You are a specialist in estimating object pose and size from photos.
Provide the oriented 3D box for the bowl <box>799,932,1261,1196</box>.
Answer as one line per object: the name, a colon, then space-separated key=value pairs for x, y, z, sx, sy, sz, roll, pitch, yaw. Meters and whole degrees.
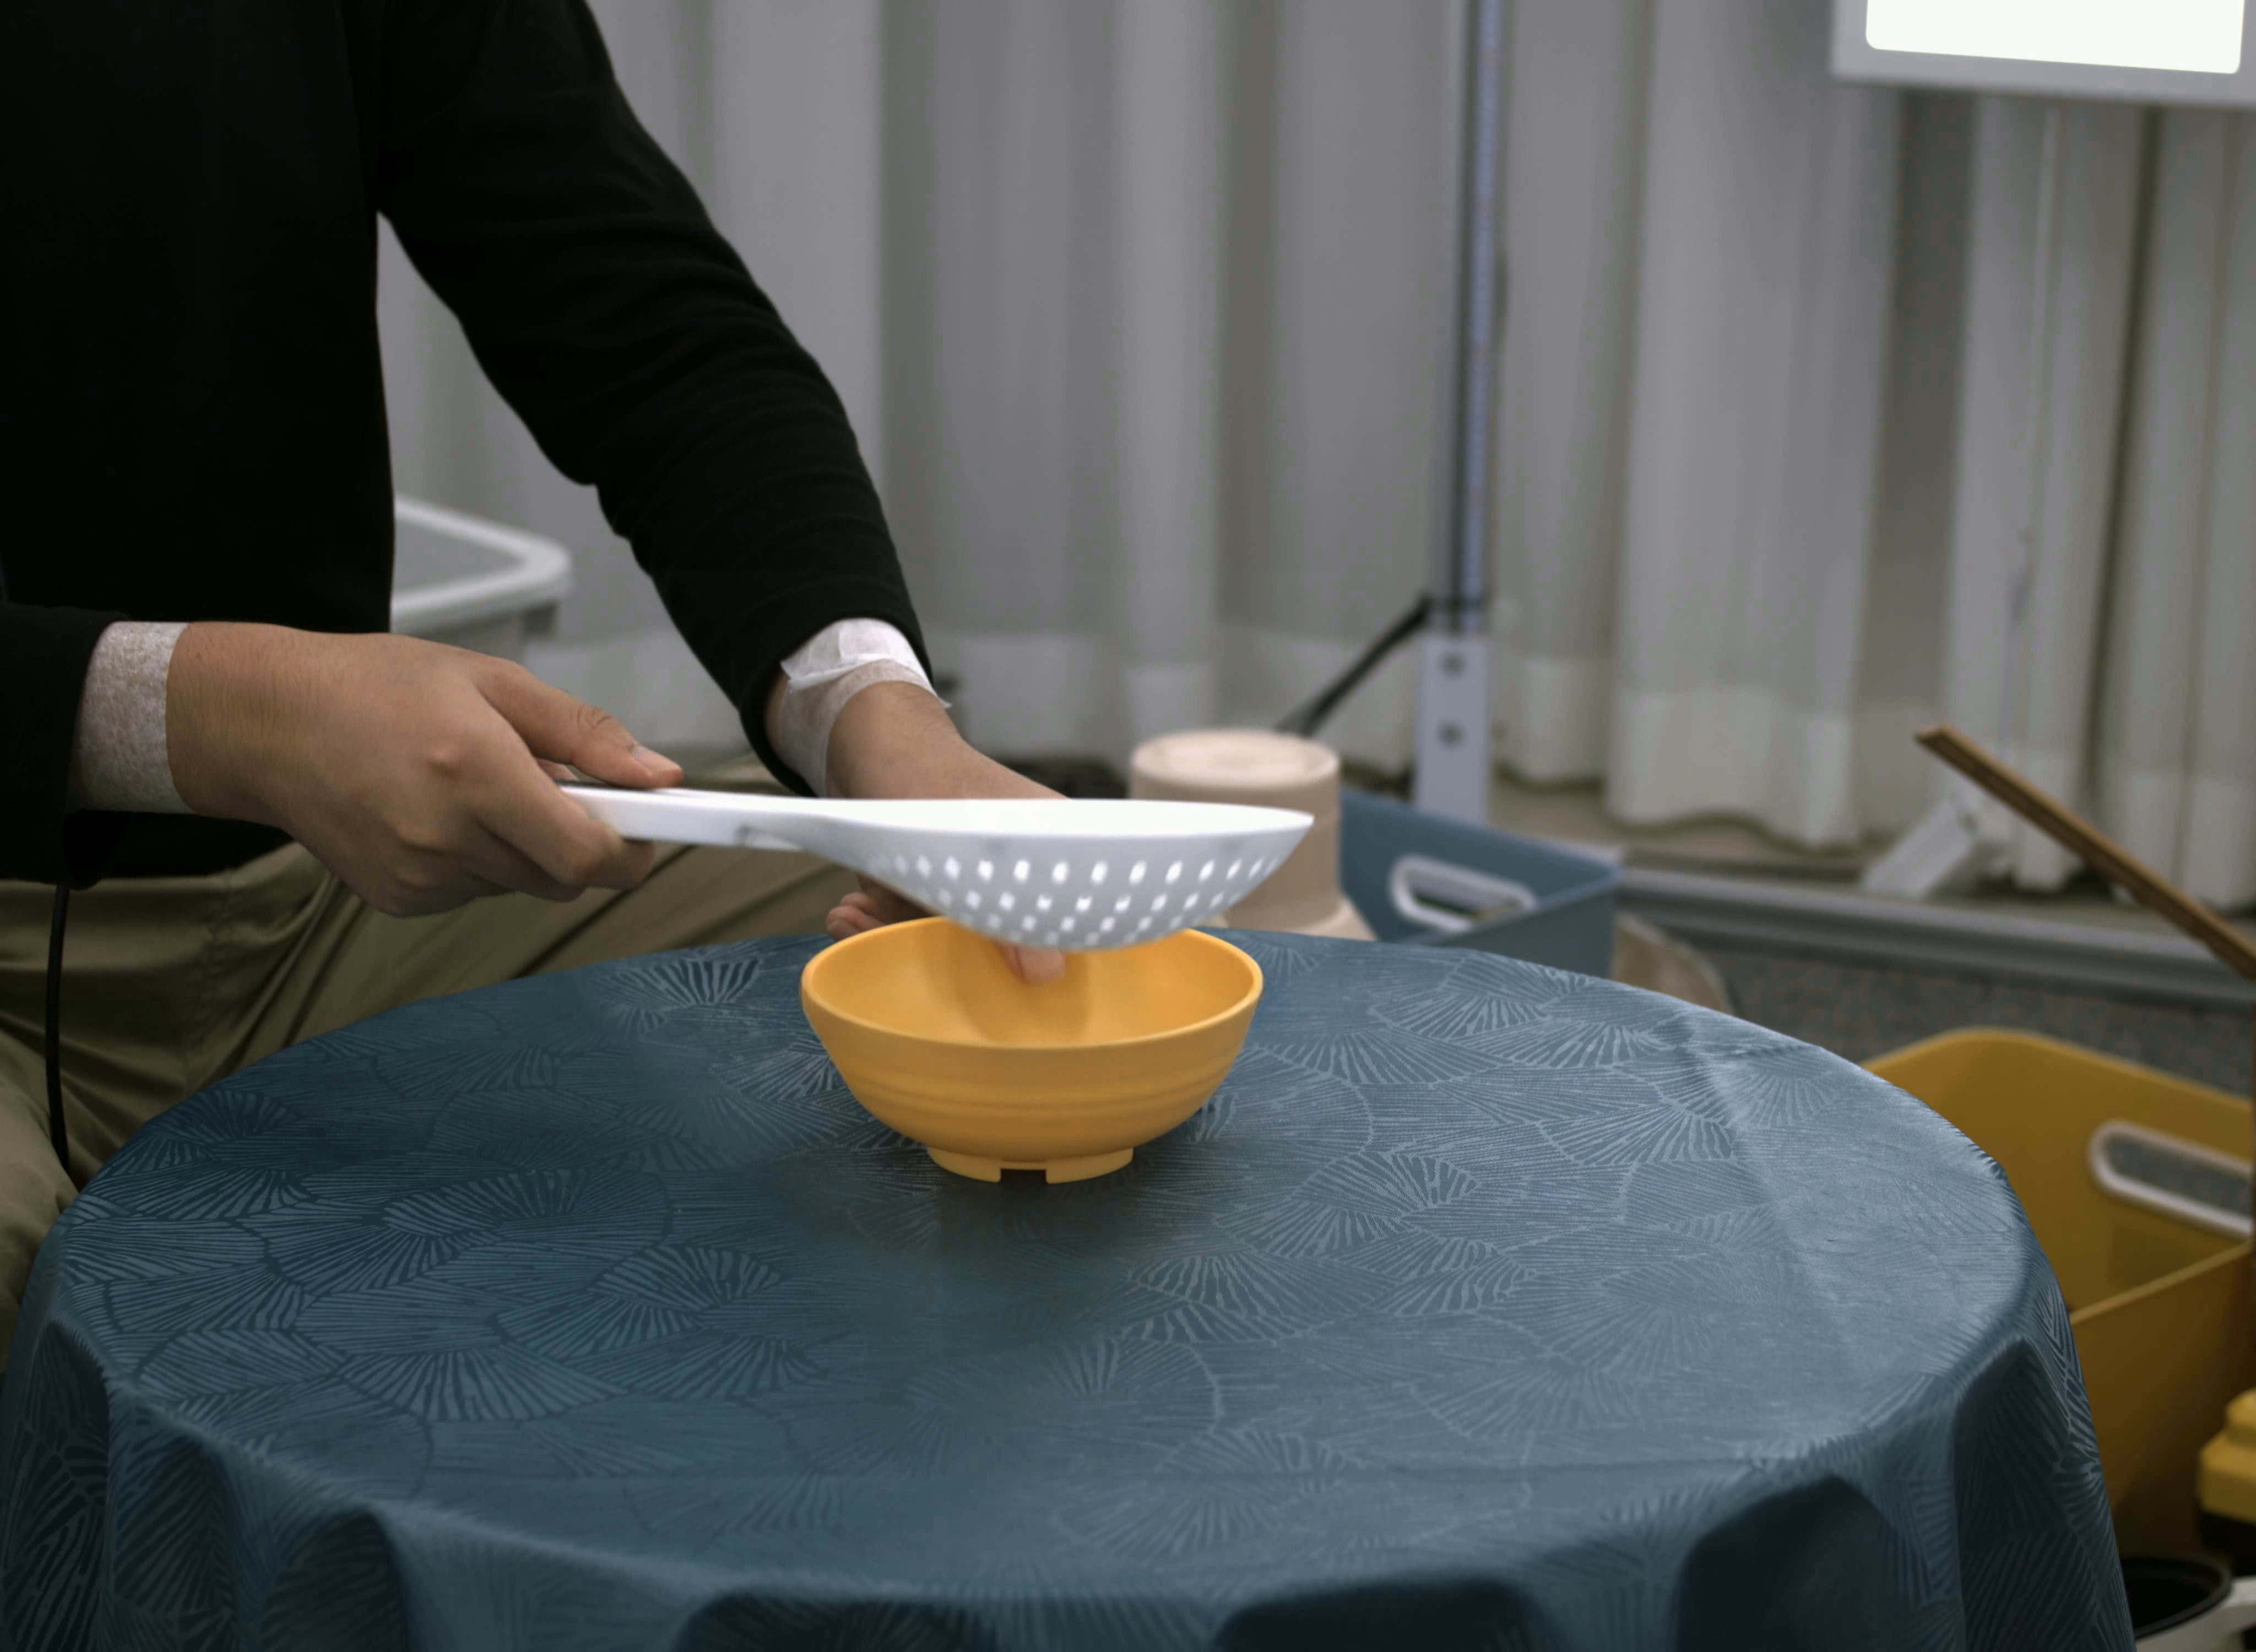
bowl: x=-0.031 y=0.078 z=1.649 sx=0.145 sy=0.060 sz=0.144 roll=1 pitch=12 yaw=0

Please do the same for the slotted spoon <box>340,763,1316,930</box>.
slotted spoon: x=-0.102 y=-0.006 z=1.580 sx=0.345 sy=0.046 sz=0.137 roll=8 pitch=6 yaw=34
